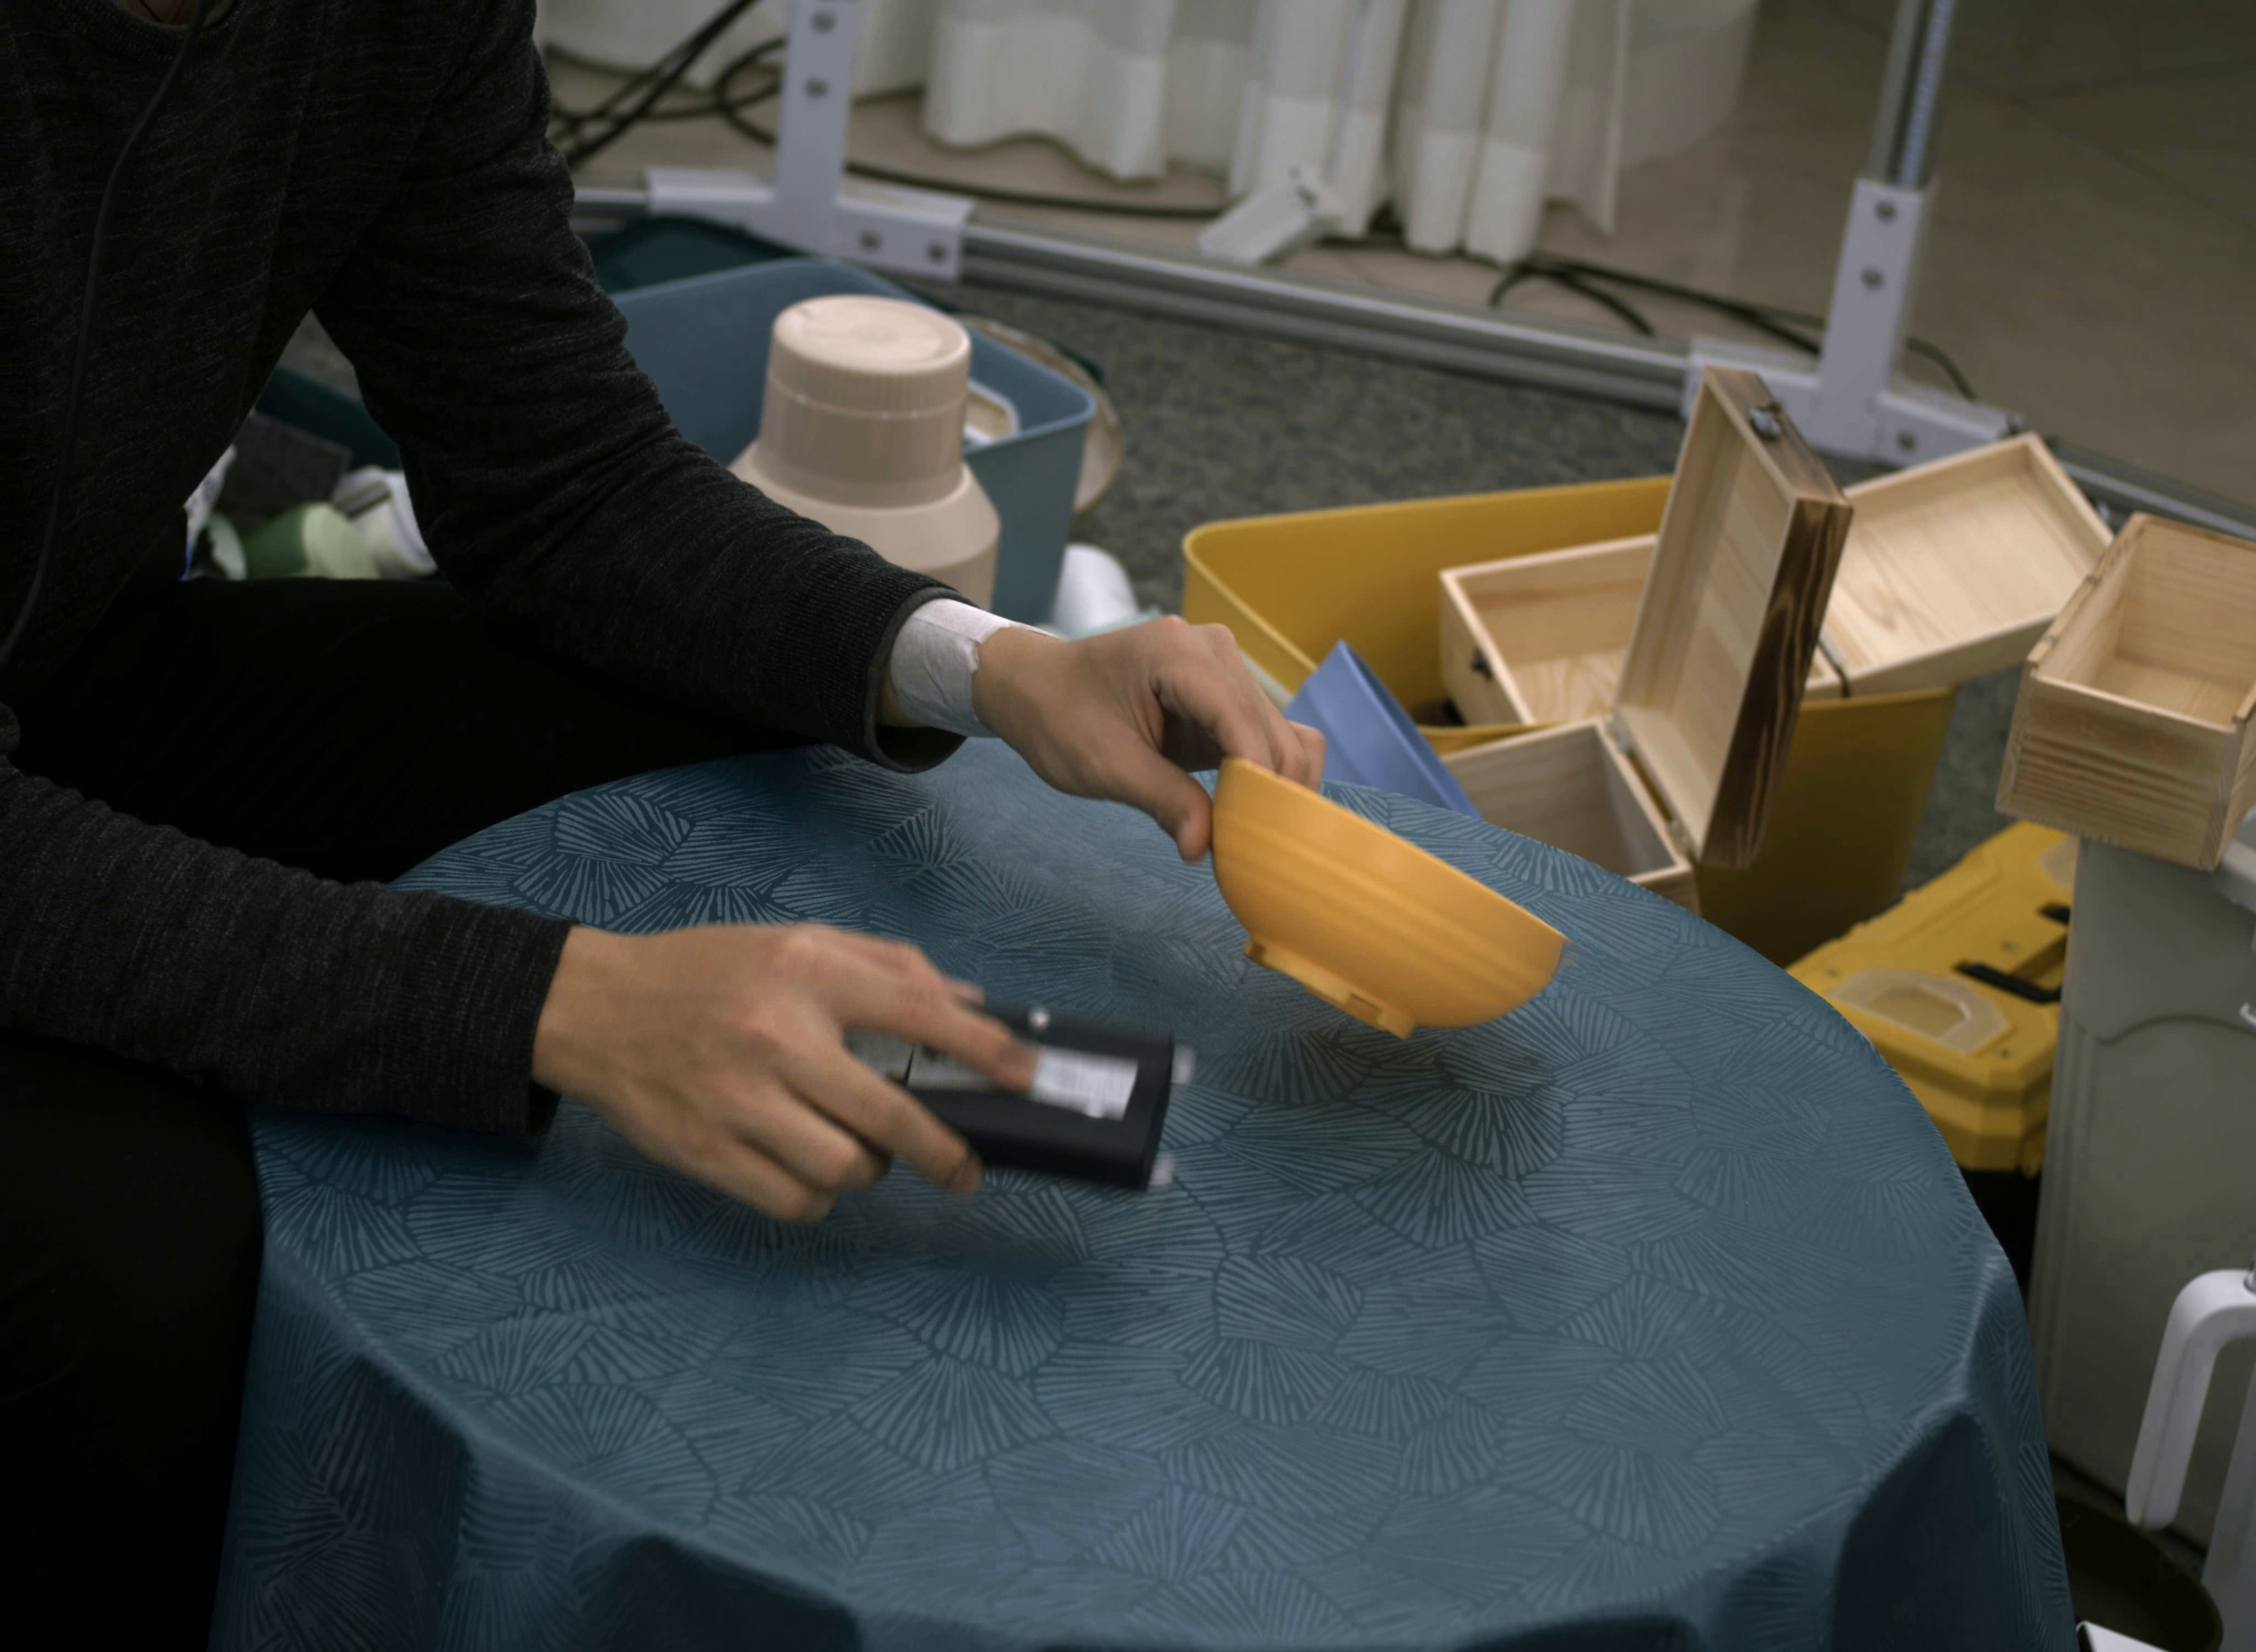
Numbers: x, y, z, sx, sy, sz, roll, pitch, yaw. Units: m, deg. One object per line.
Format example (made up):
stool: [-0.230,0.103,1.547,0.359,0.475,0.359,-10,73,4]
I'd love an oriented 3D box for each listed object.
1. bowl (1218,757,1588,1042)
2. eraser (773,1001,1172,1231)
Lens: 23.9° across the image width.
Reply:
bowl: [0.086,0.035,1.884,0.145,0.060,0.145,28,0,0]
eraser: [-0.050,0.095,1.747,0.125,0.030,0.054,11,53,7]
